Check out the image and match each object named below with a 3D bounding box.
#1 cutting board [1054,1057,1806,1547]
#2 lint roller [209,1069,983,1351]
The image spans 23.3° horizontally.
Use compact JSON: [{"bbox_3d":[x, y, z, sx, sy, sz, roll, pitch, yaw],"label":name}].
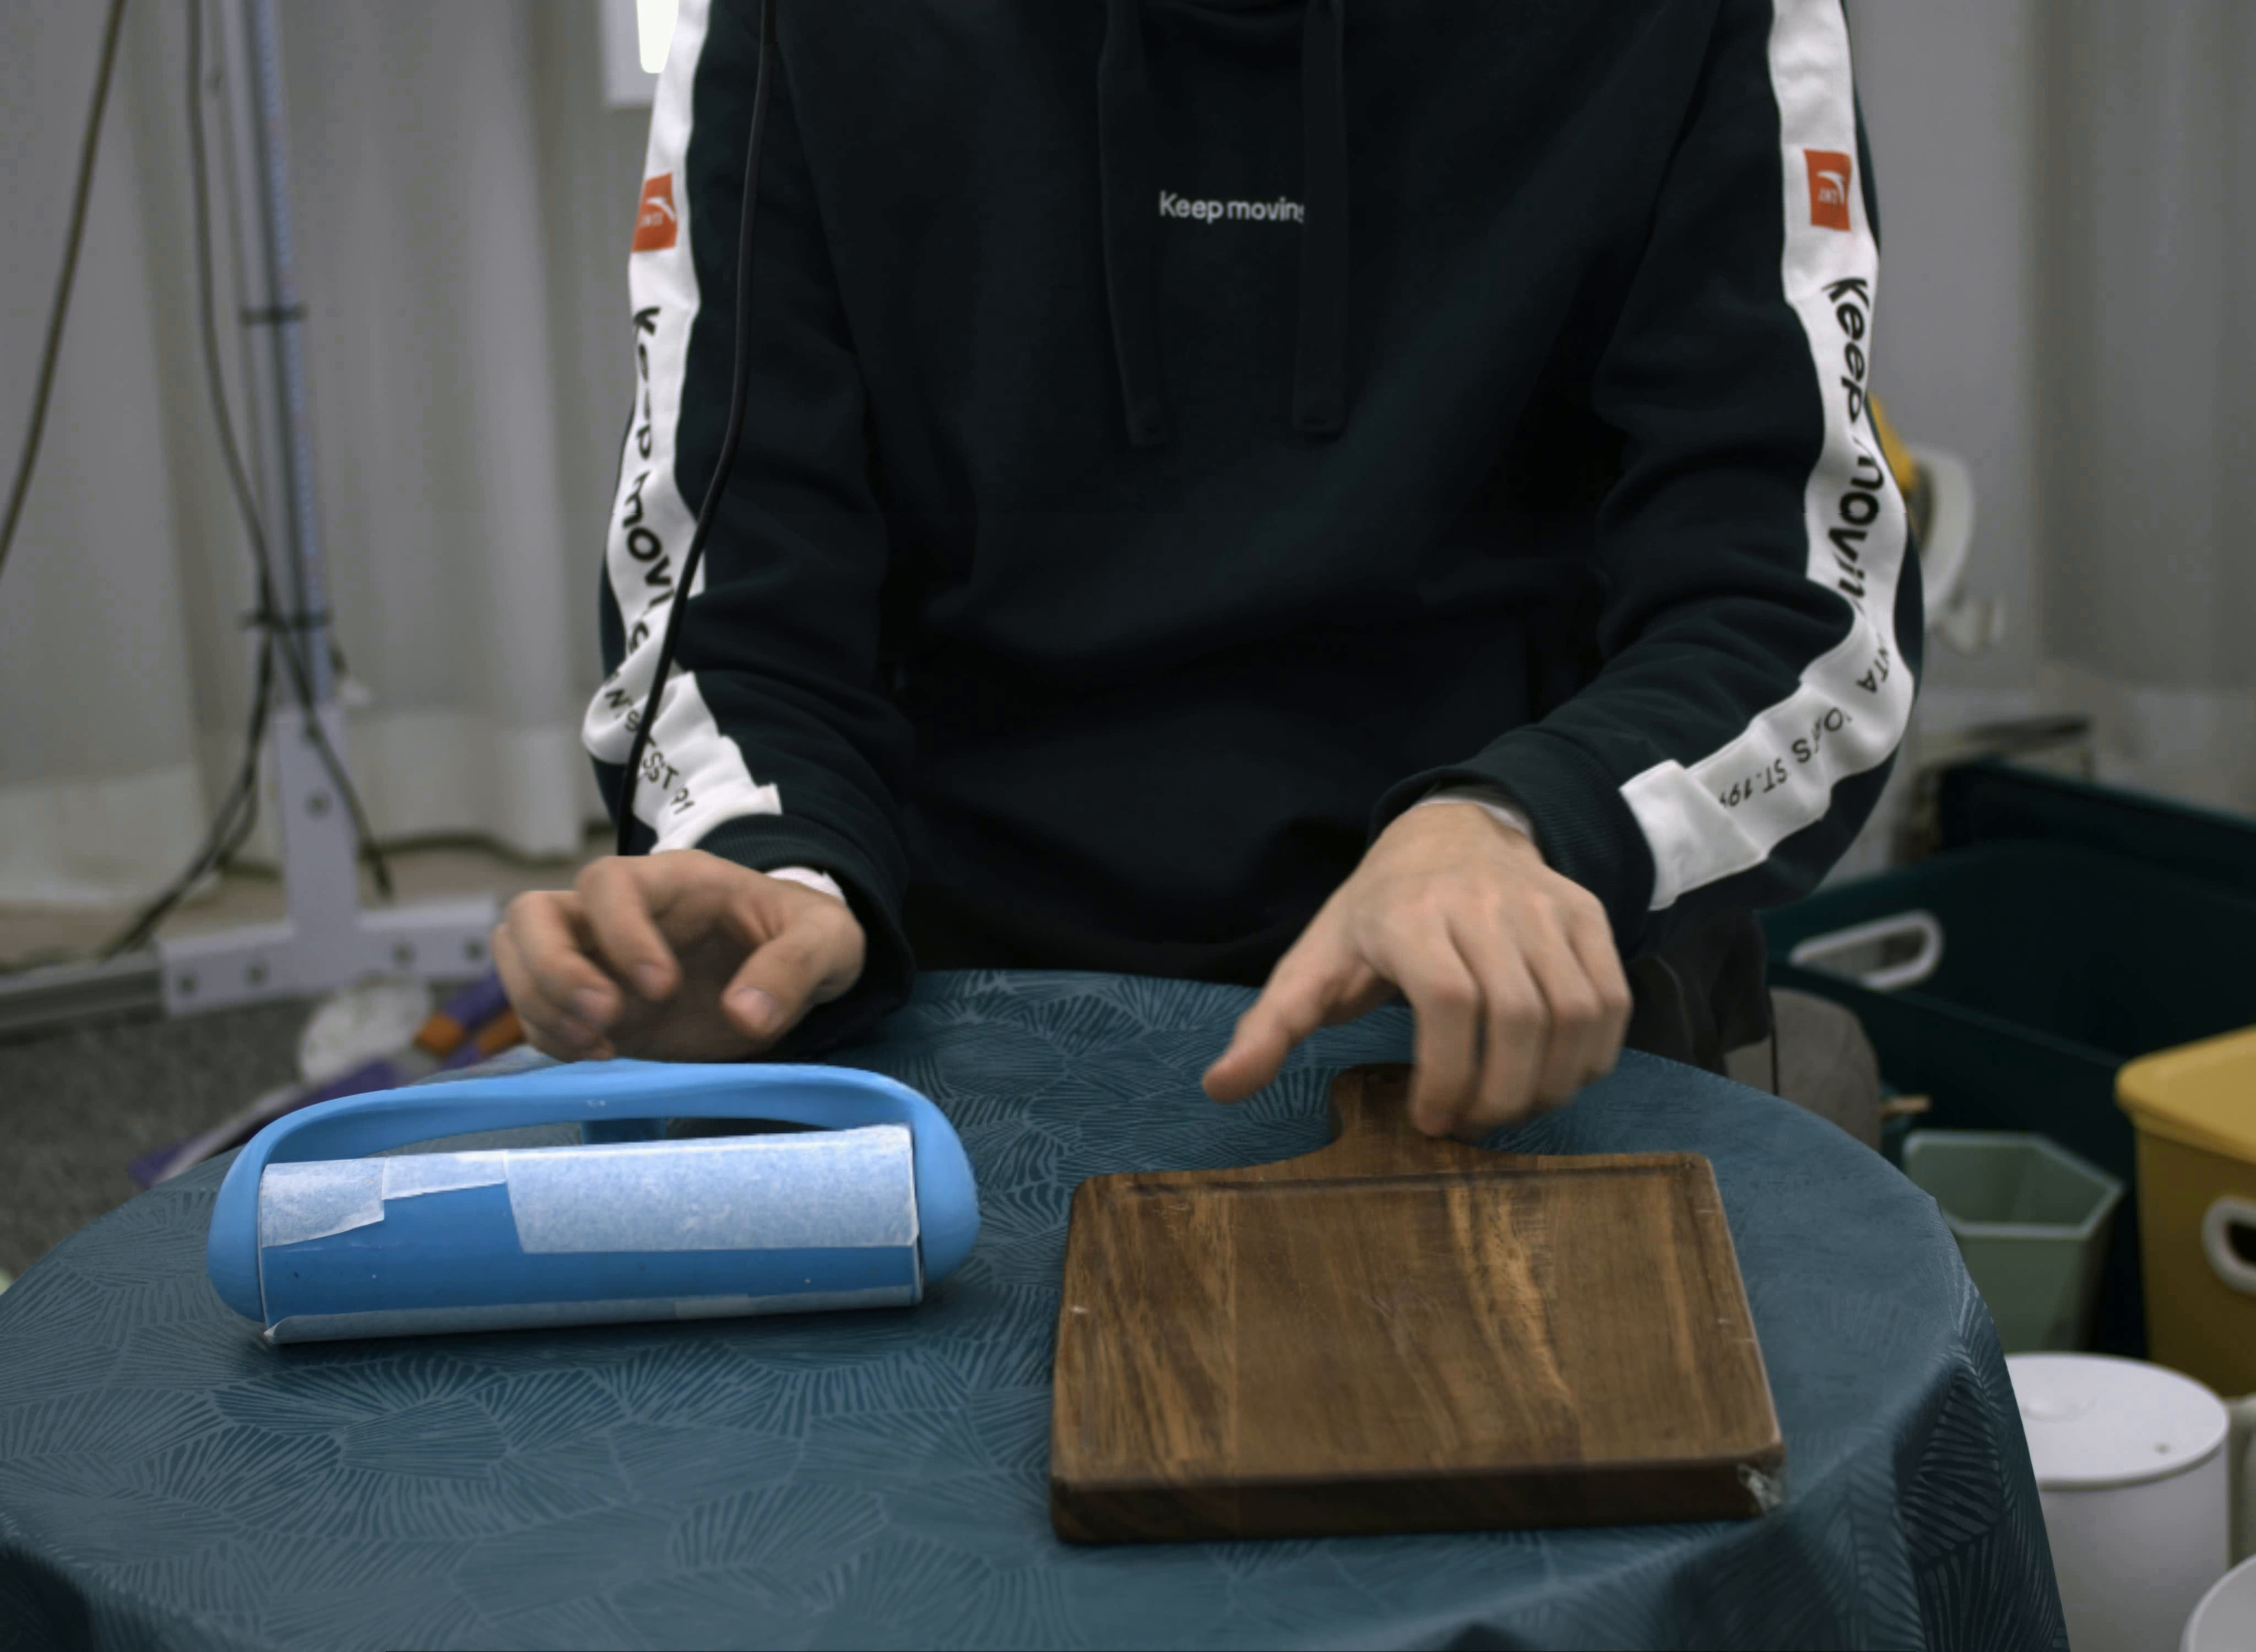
[{"bbox_3d":[0.079,0.131,1.596,0.200,0.023,0.354,-2,15,1],"label":"cutting board"},{"bbox_3d":[-0.162,0.105,1.673,0.228,0.067,0.181,-5,16,-3],"label":"lint roller"}]
